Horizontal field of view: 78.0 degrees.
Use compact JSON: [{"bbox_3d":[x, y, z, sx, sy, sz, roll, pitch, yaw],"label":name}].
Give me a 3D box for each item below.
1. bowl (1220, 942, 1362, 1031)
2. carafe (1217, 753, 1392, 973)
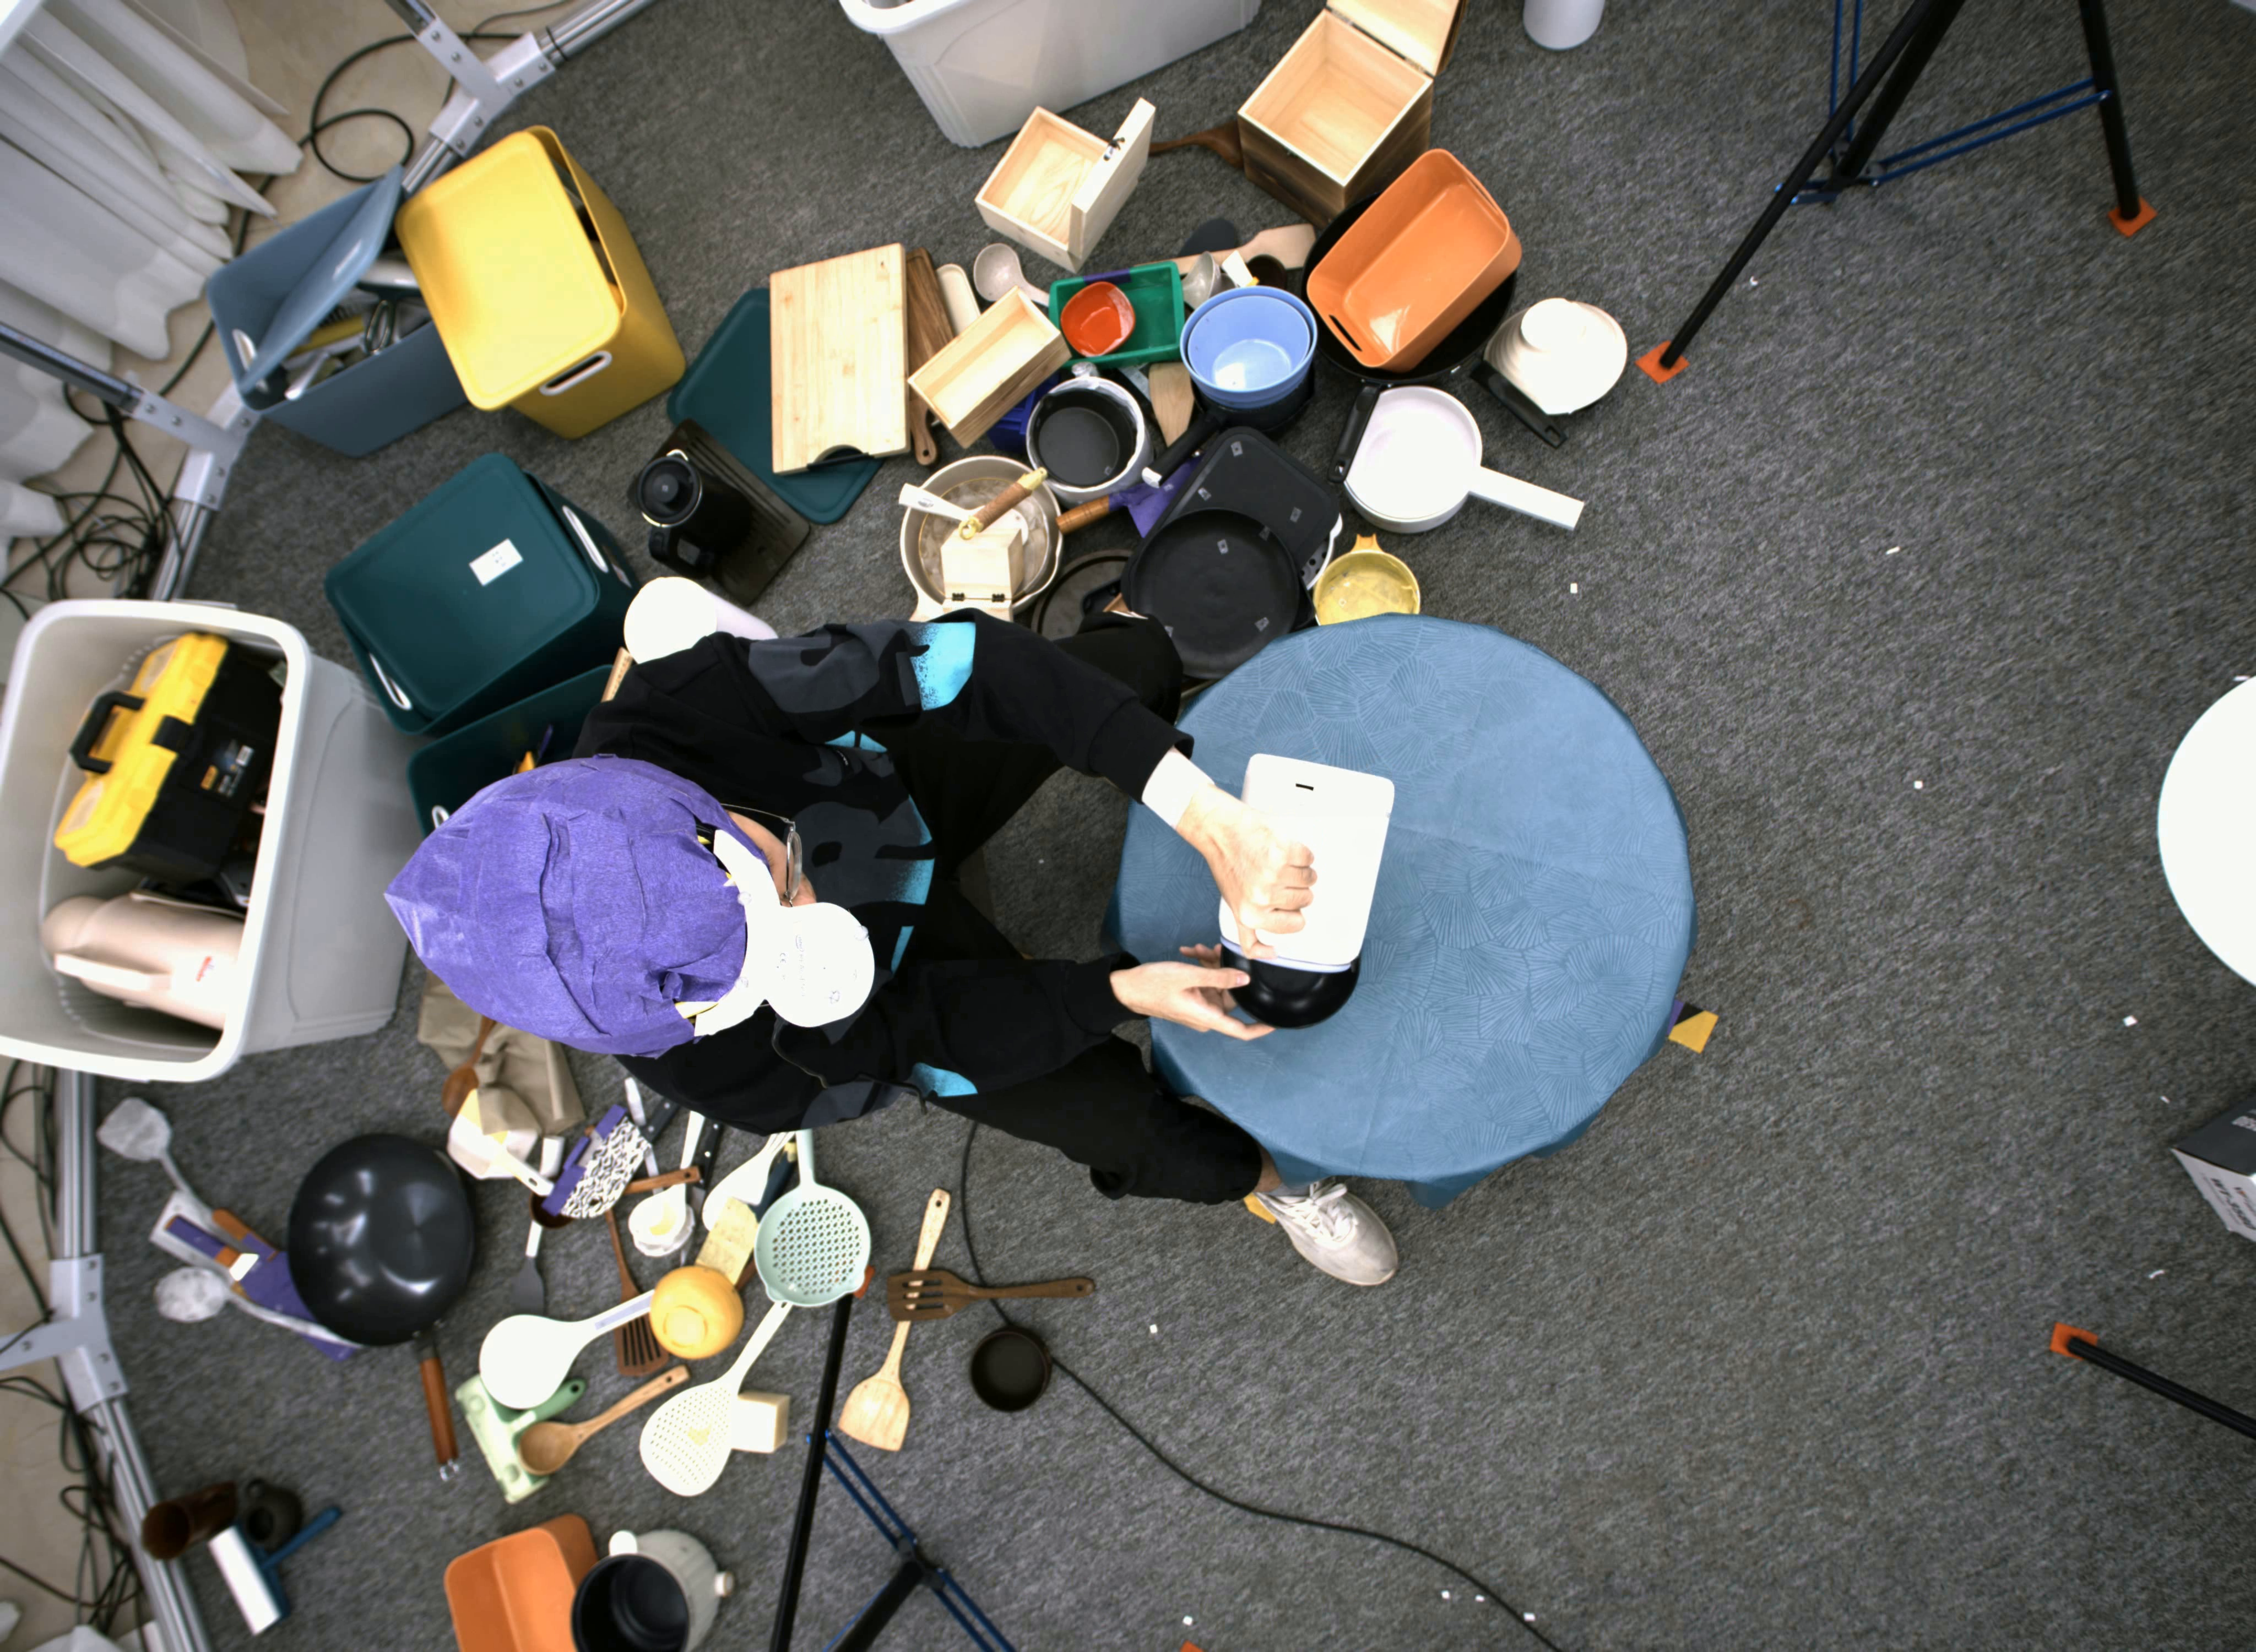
[{"bbox_3d":[0.163,0.133,1.385,0.140,0.050,0.139,-1,86,8],"label":"bowl"},{"bbox_3d":[0.145,0.029,1.193,0.132,0.190,0.183,12,94,20],"label":"carafe"}]
